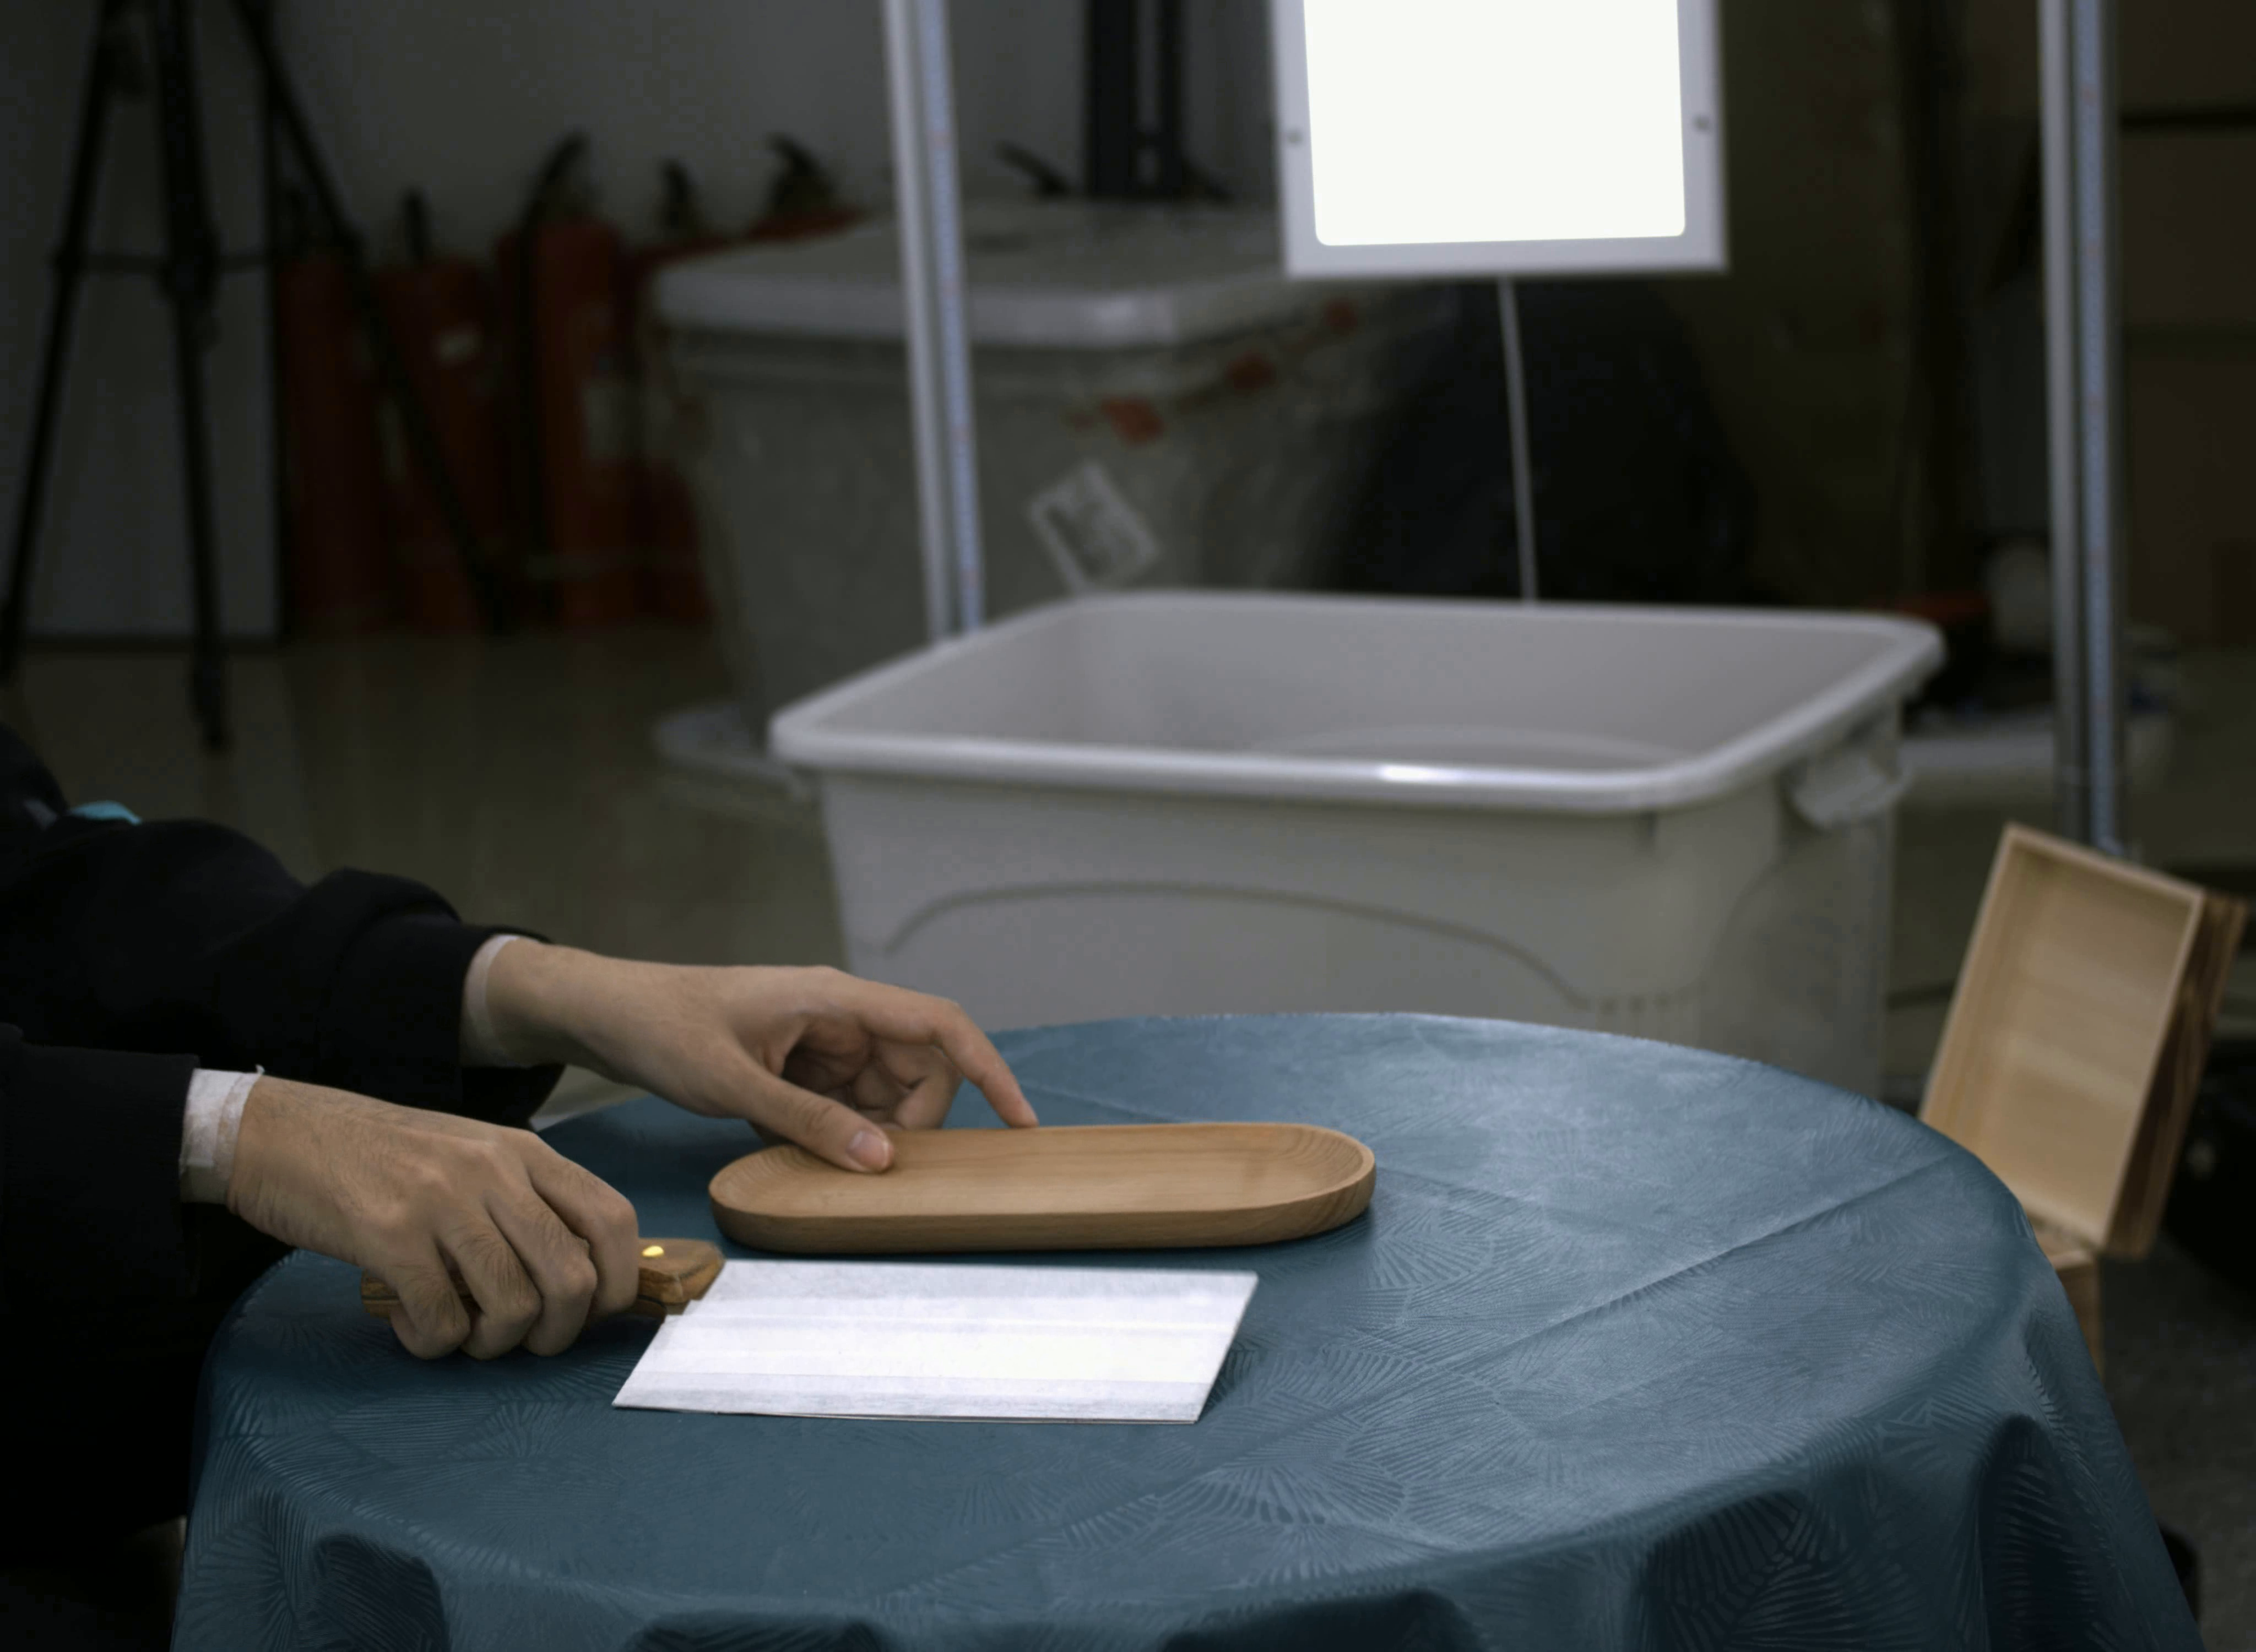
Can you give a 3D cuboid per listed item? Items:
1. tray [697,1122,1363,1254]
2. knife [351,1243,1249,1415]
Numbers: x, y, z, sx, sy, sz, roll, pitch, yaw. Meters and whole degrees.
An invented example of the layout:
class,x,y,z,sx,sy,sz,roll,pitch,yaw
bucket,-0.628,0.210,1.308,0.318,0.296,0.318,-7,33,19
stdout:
class,x,y,z,sx,sy,sz,roll,pitch,yaw
tray,-0.034,0.124,1.883,0.233,0.020,0.100,-3,13,12
knife,-0.114,0.162,1.754,0.309,0.021,0.091,0,25,18
